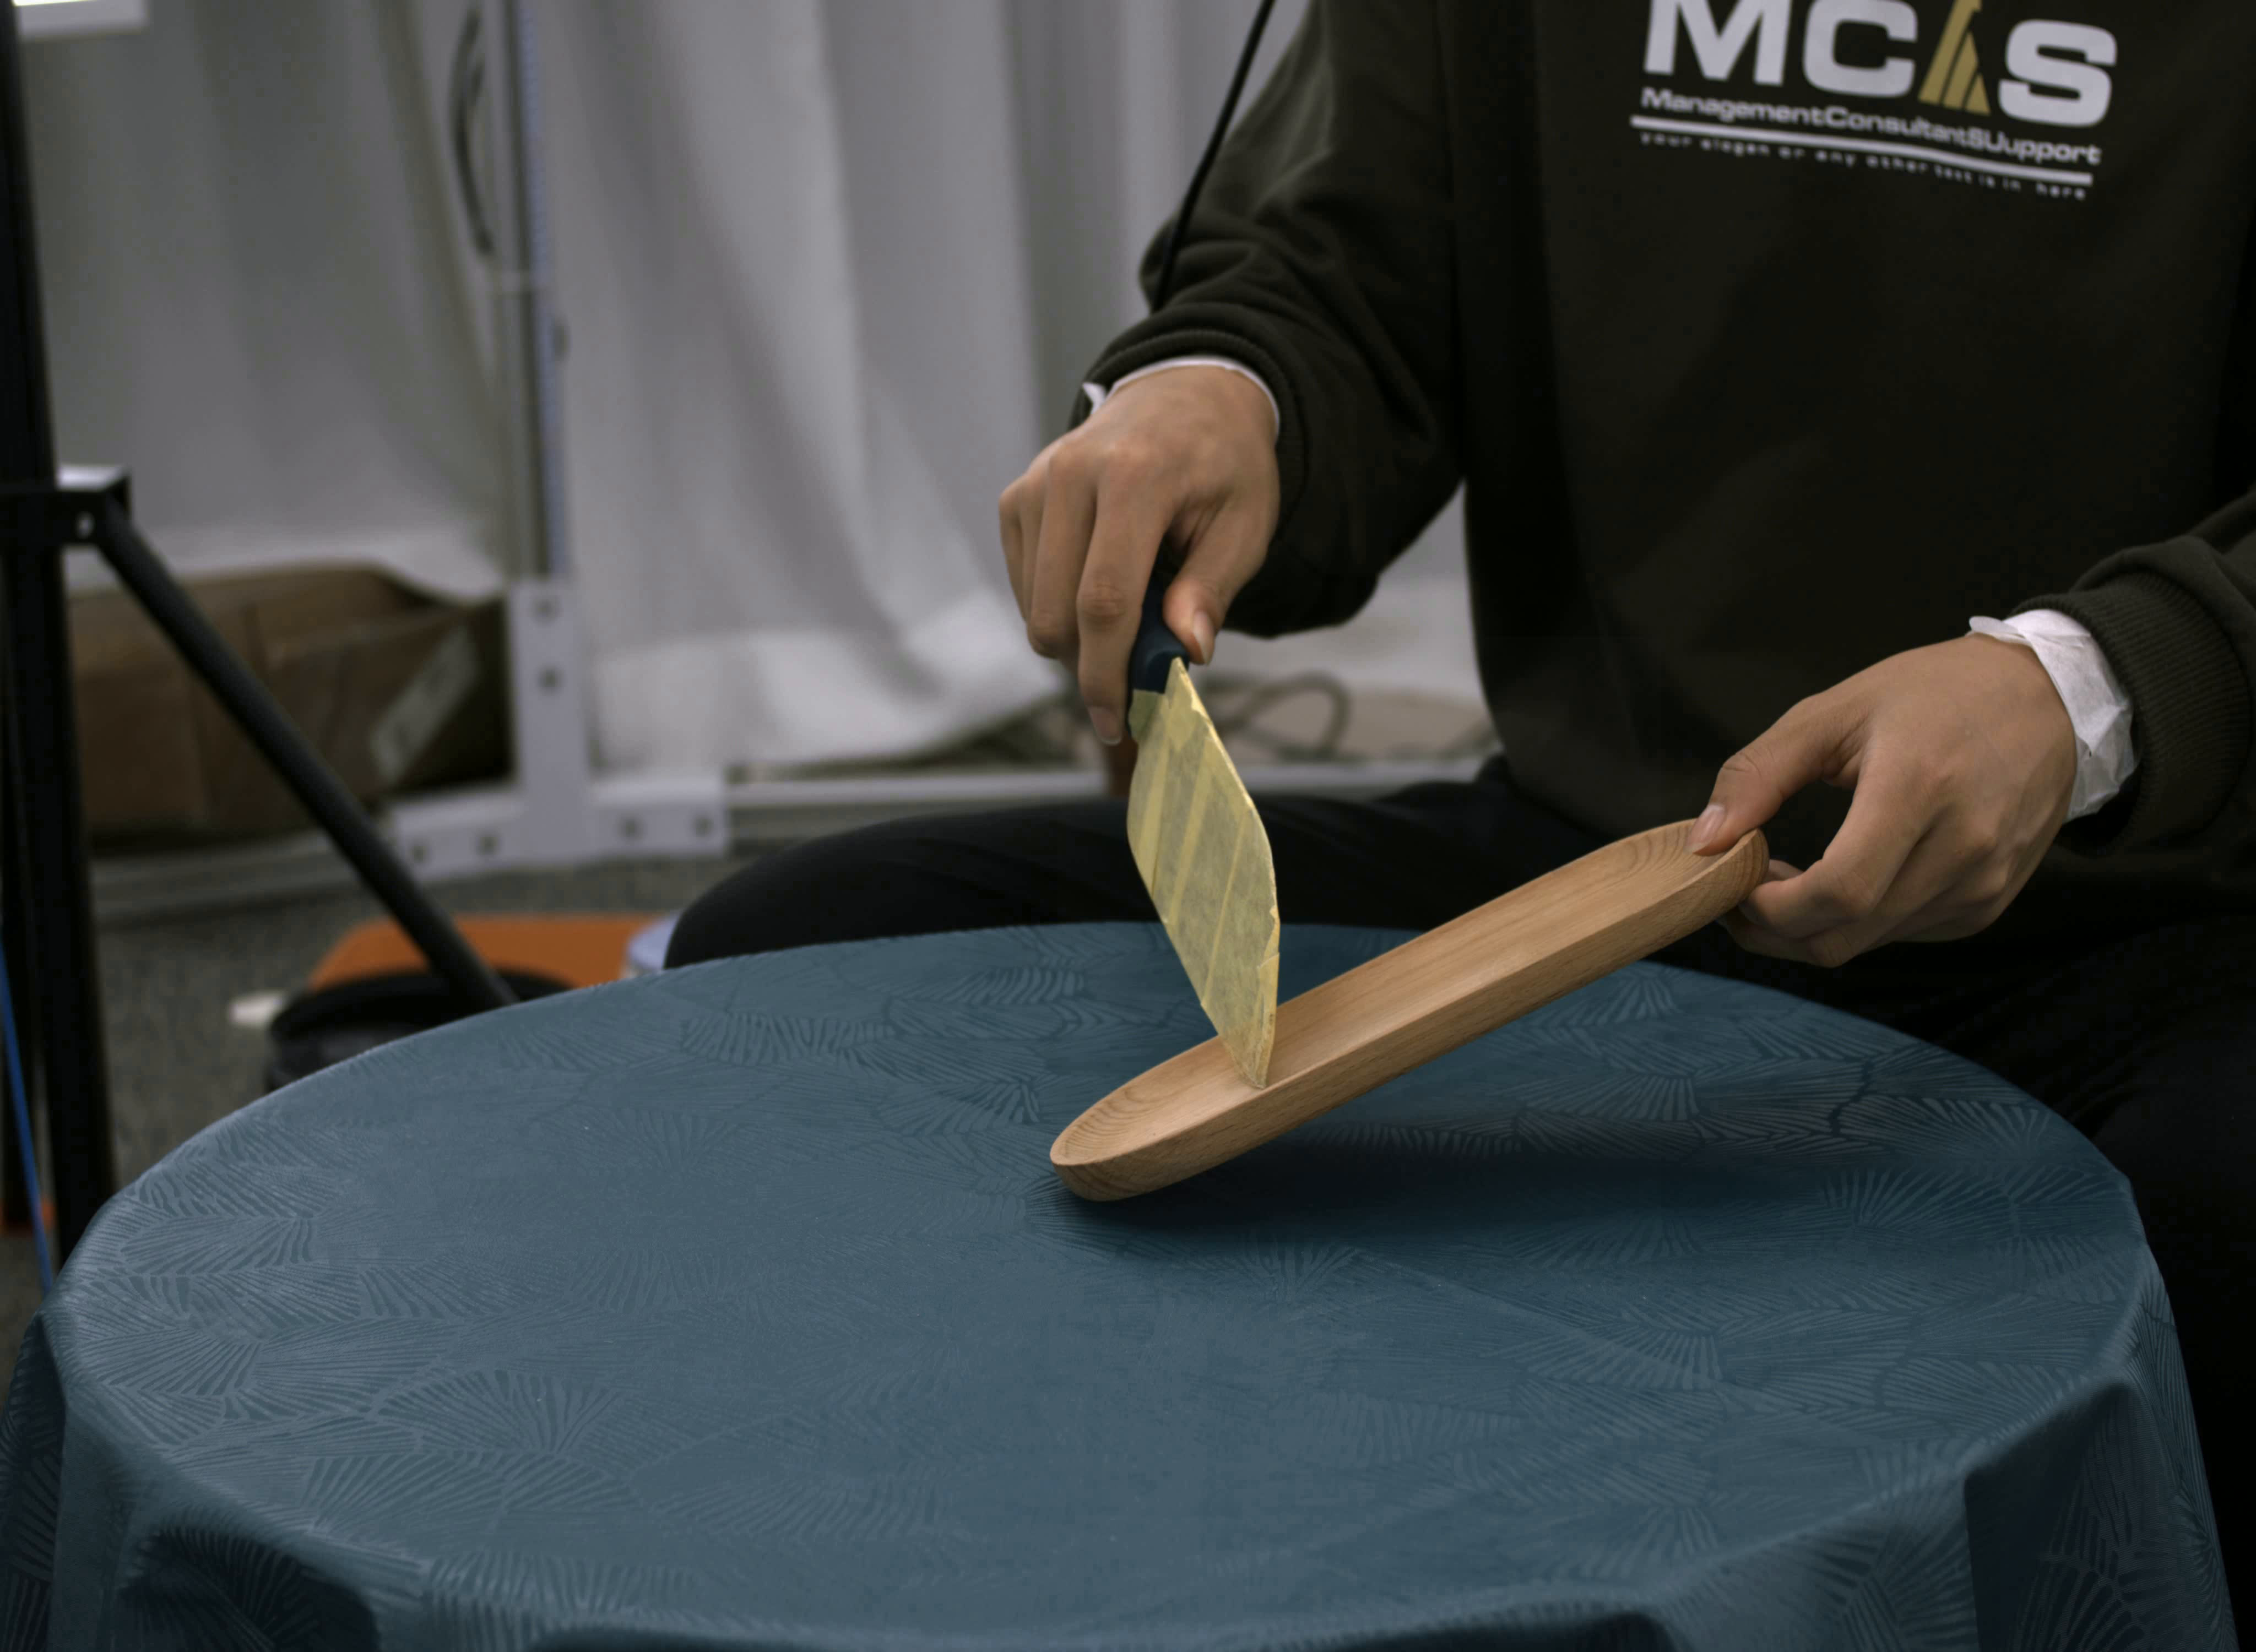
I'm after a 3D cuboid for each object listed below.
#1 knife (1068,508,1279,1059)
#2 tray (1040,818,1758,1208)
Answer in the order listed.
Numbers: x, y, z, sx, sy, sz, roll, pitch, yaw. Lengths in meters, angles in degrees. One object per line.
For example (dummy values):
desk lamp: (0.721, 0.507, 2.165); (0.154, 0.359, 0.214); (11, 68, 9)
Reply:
knife: (0.013, -0.018, 1.669); (0.027, 0.081, 0.294); (7, 30, -16)
tray: (0.081, 0.055, 1.559); (0.230, 0.020, 0.102); (-27, 8, -2)
